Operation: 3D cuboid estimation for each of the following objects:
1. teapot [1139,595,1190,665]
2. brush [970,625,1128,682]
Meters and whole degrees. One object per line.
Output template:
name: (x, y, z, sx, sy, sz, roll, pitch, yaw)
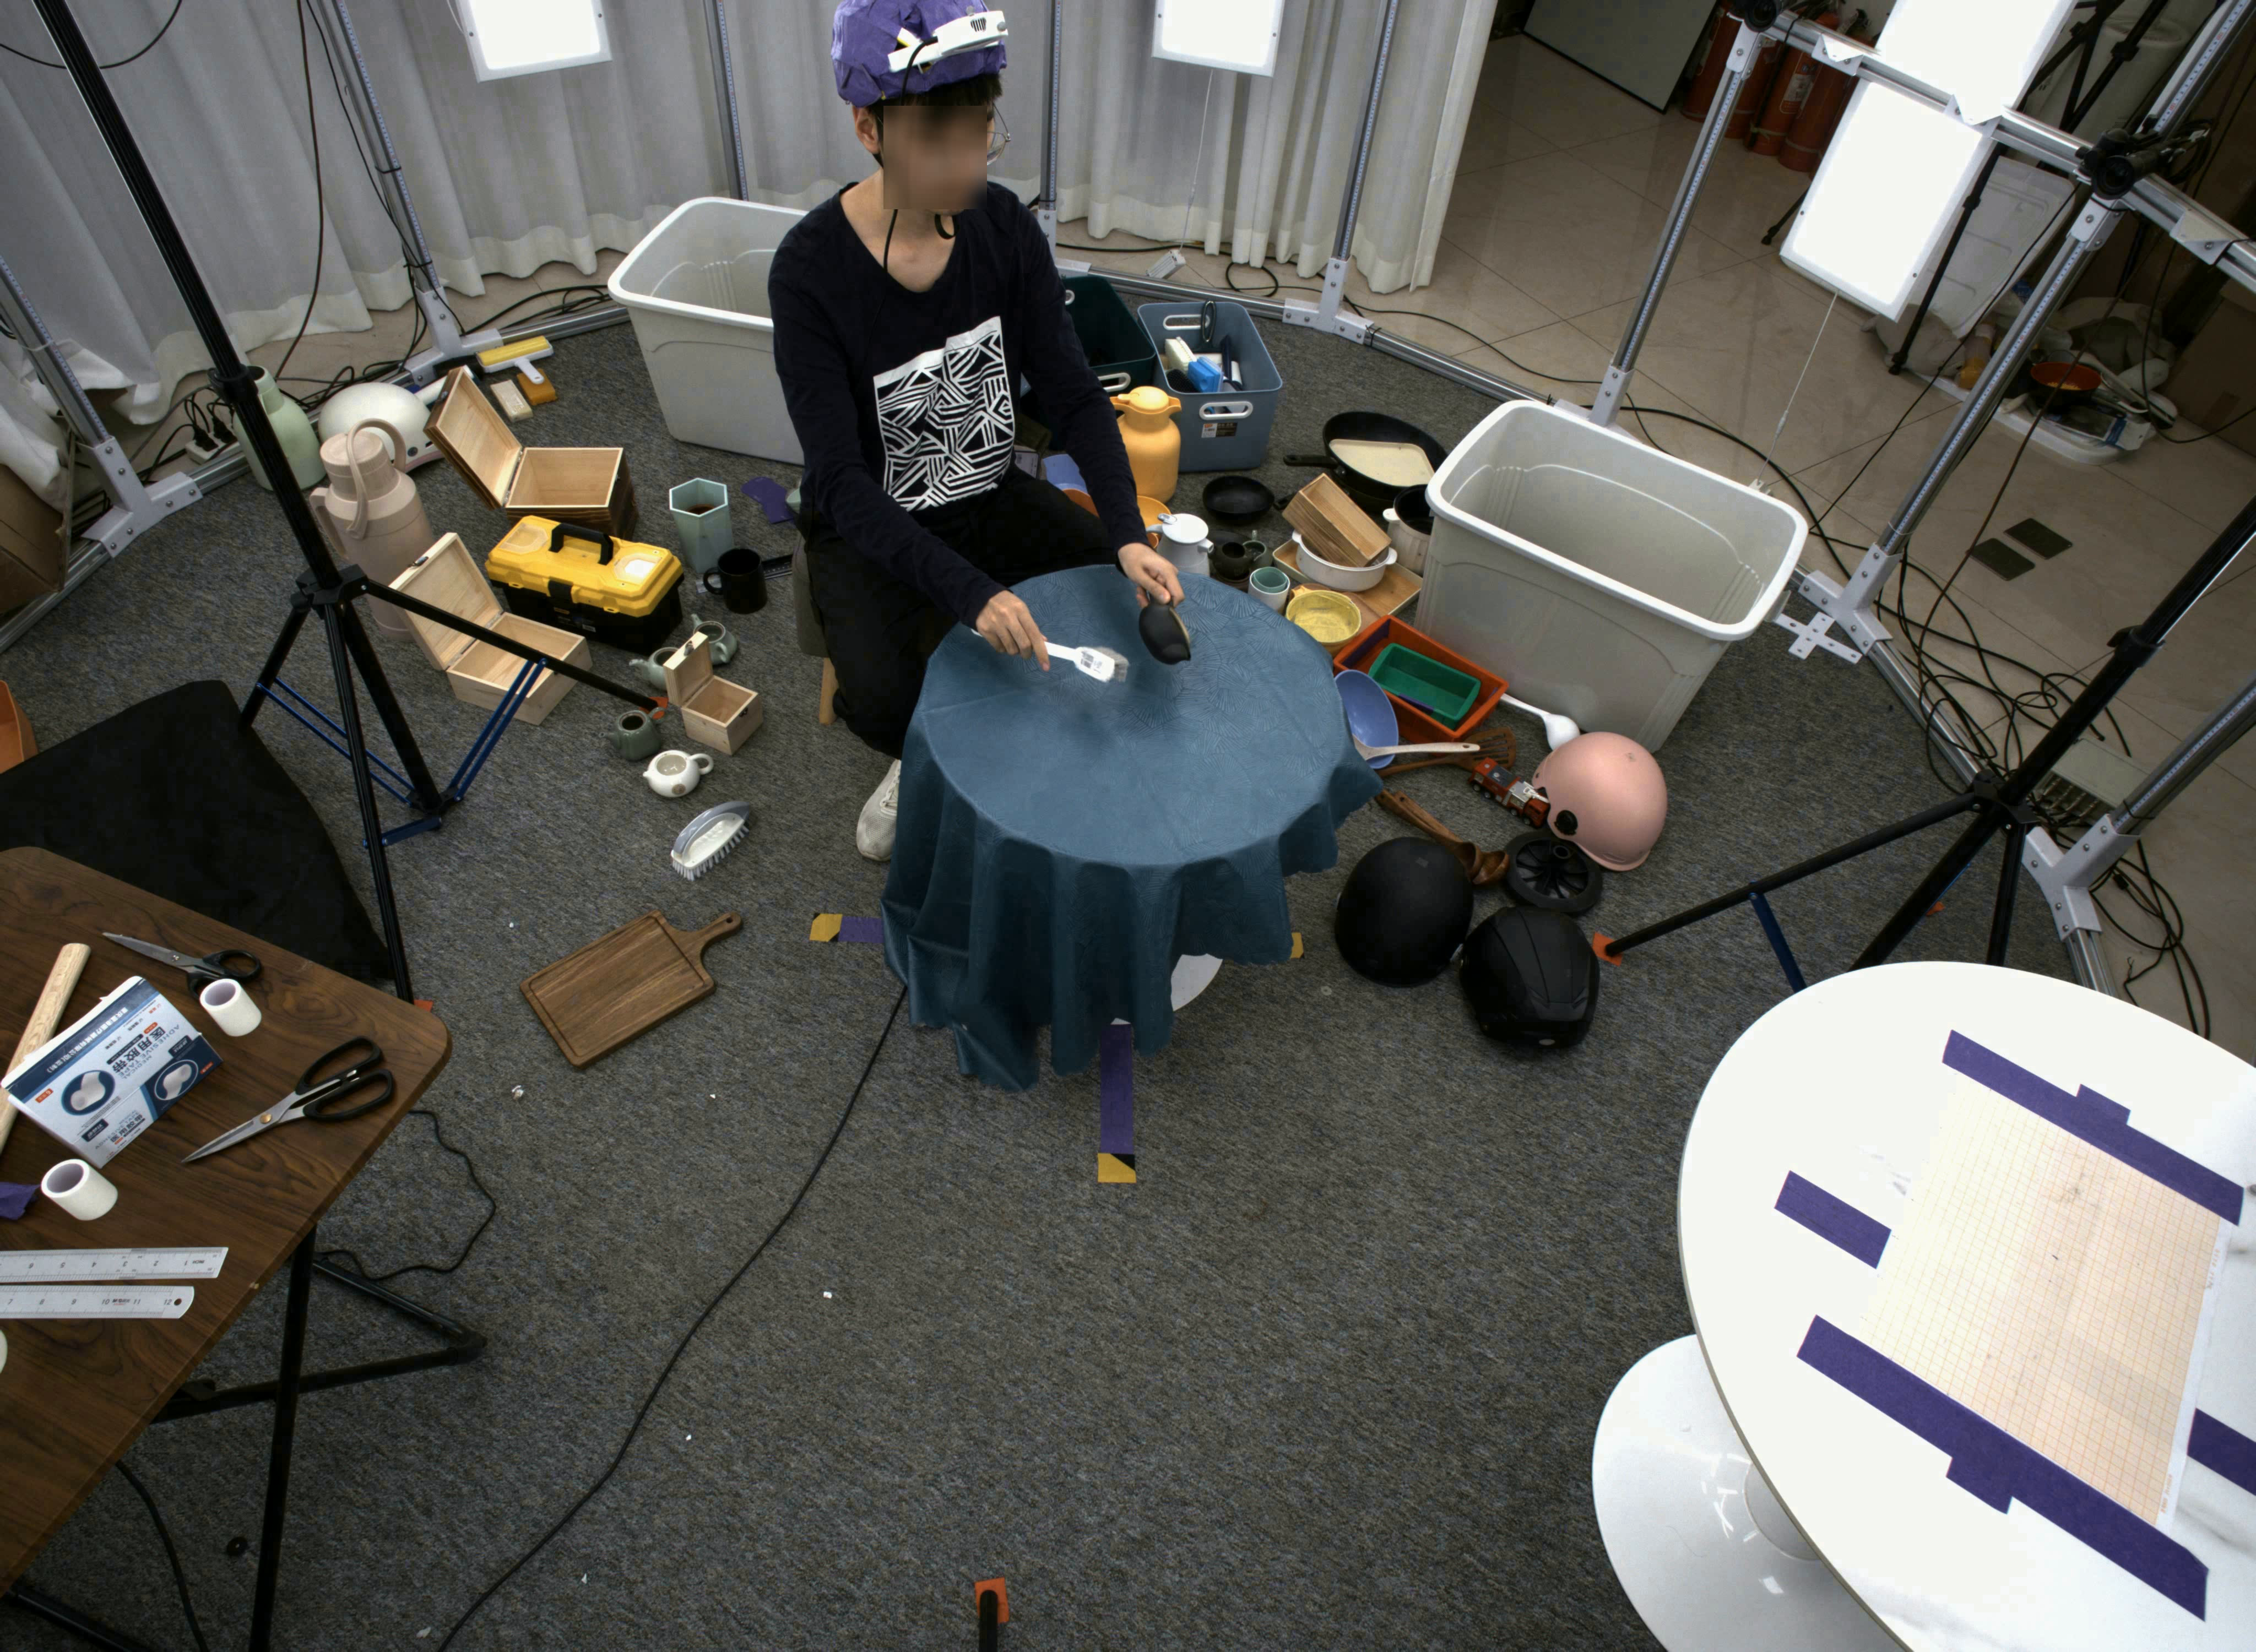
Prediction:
teapot: (0.050, -0.273, 1.810, 0.053, 0.089, 0.136, -24, 52, 13)
brush: (-0.110, -0.245, 1.796, 0.246, 0.034, 0.050, 18, 19, 25)
